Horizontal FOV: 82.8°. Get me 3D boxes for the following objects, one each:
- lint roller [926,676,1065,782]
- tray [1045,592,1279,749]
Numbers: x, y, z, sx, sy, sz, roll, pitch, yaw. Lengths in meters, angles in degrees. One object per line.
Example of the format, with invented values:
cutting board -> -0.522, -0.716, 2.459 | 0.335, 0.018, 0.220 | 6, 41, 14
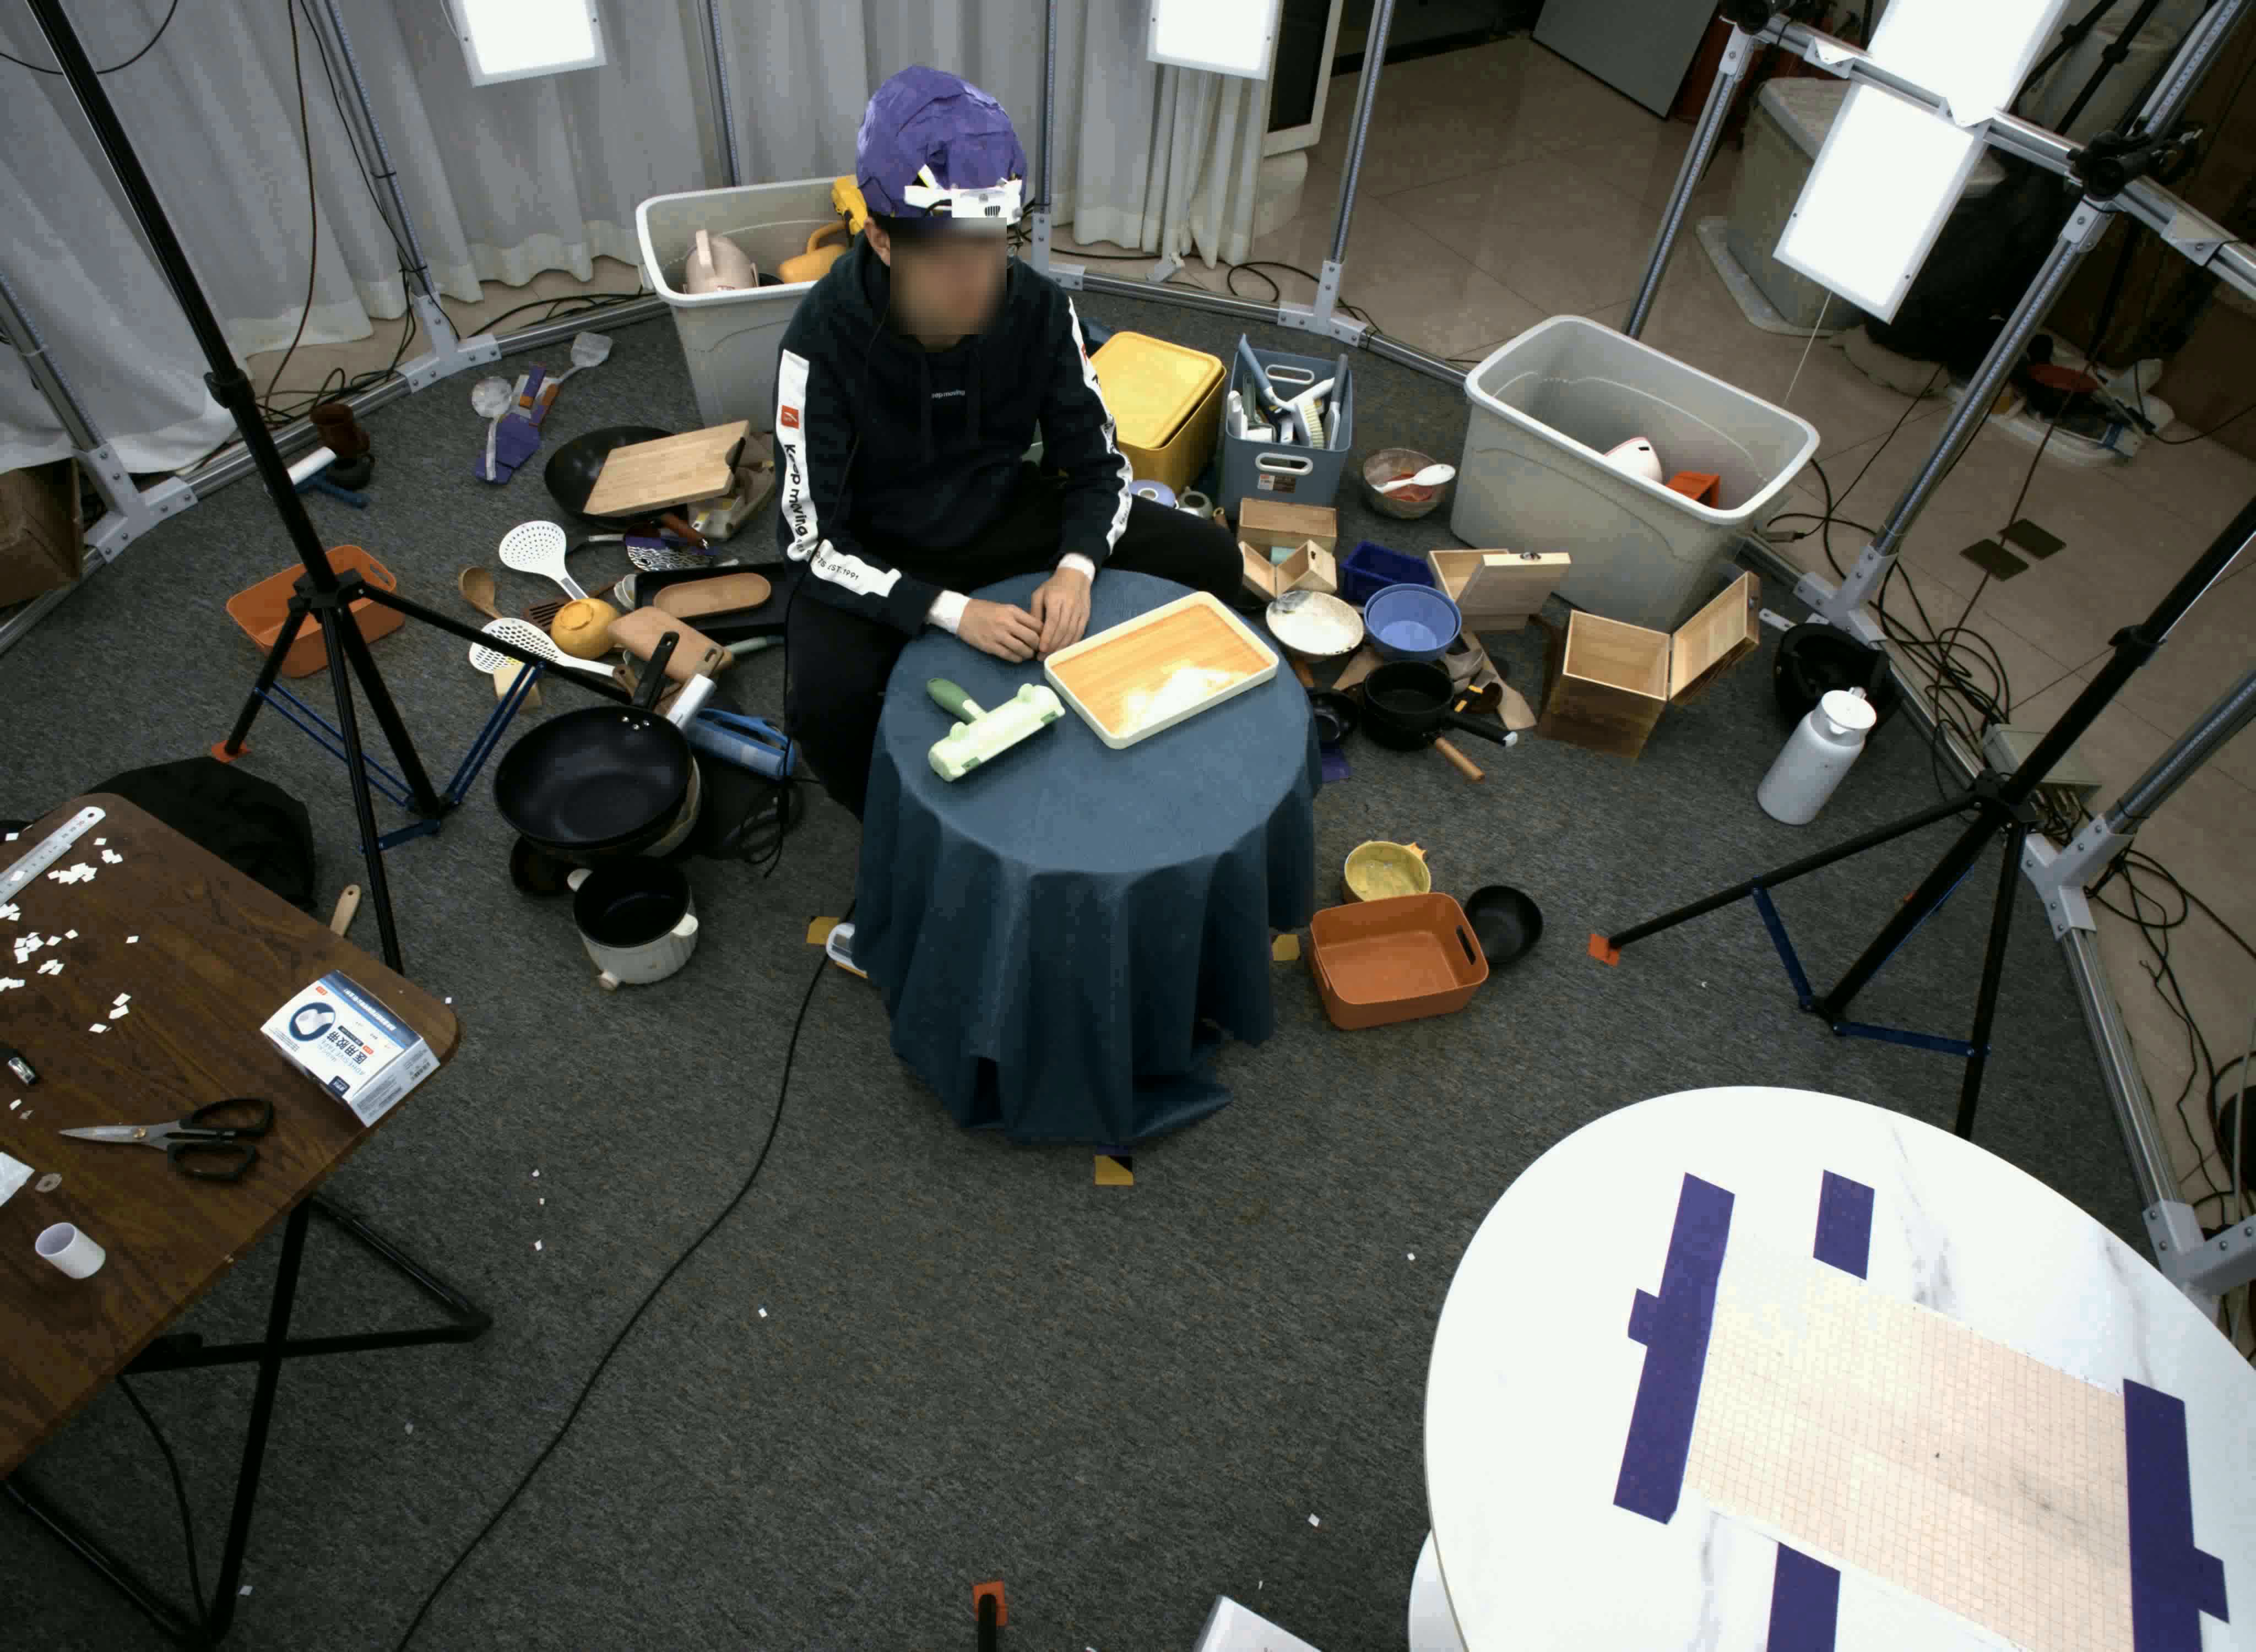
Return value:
lint roller -> -0.214, -0.166, 1.749 | 0.200, 0.080, 0.186 | -33, 63, -28
tray -> 0.049, -0.230, 1.853 | 0.302, 0.027, 0.195 | -26, 55, -24
